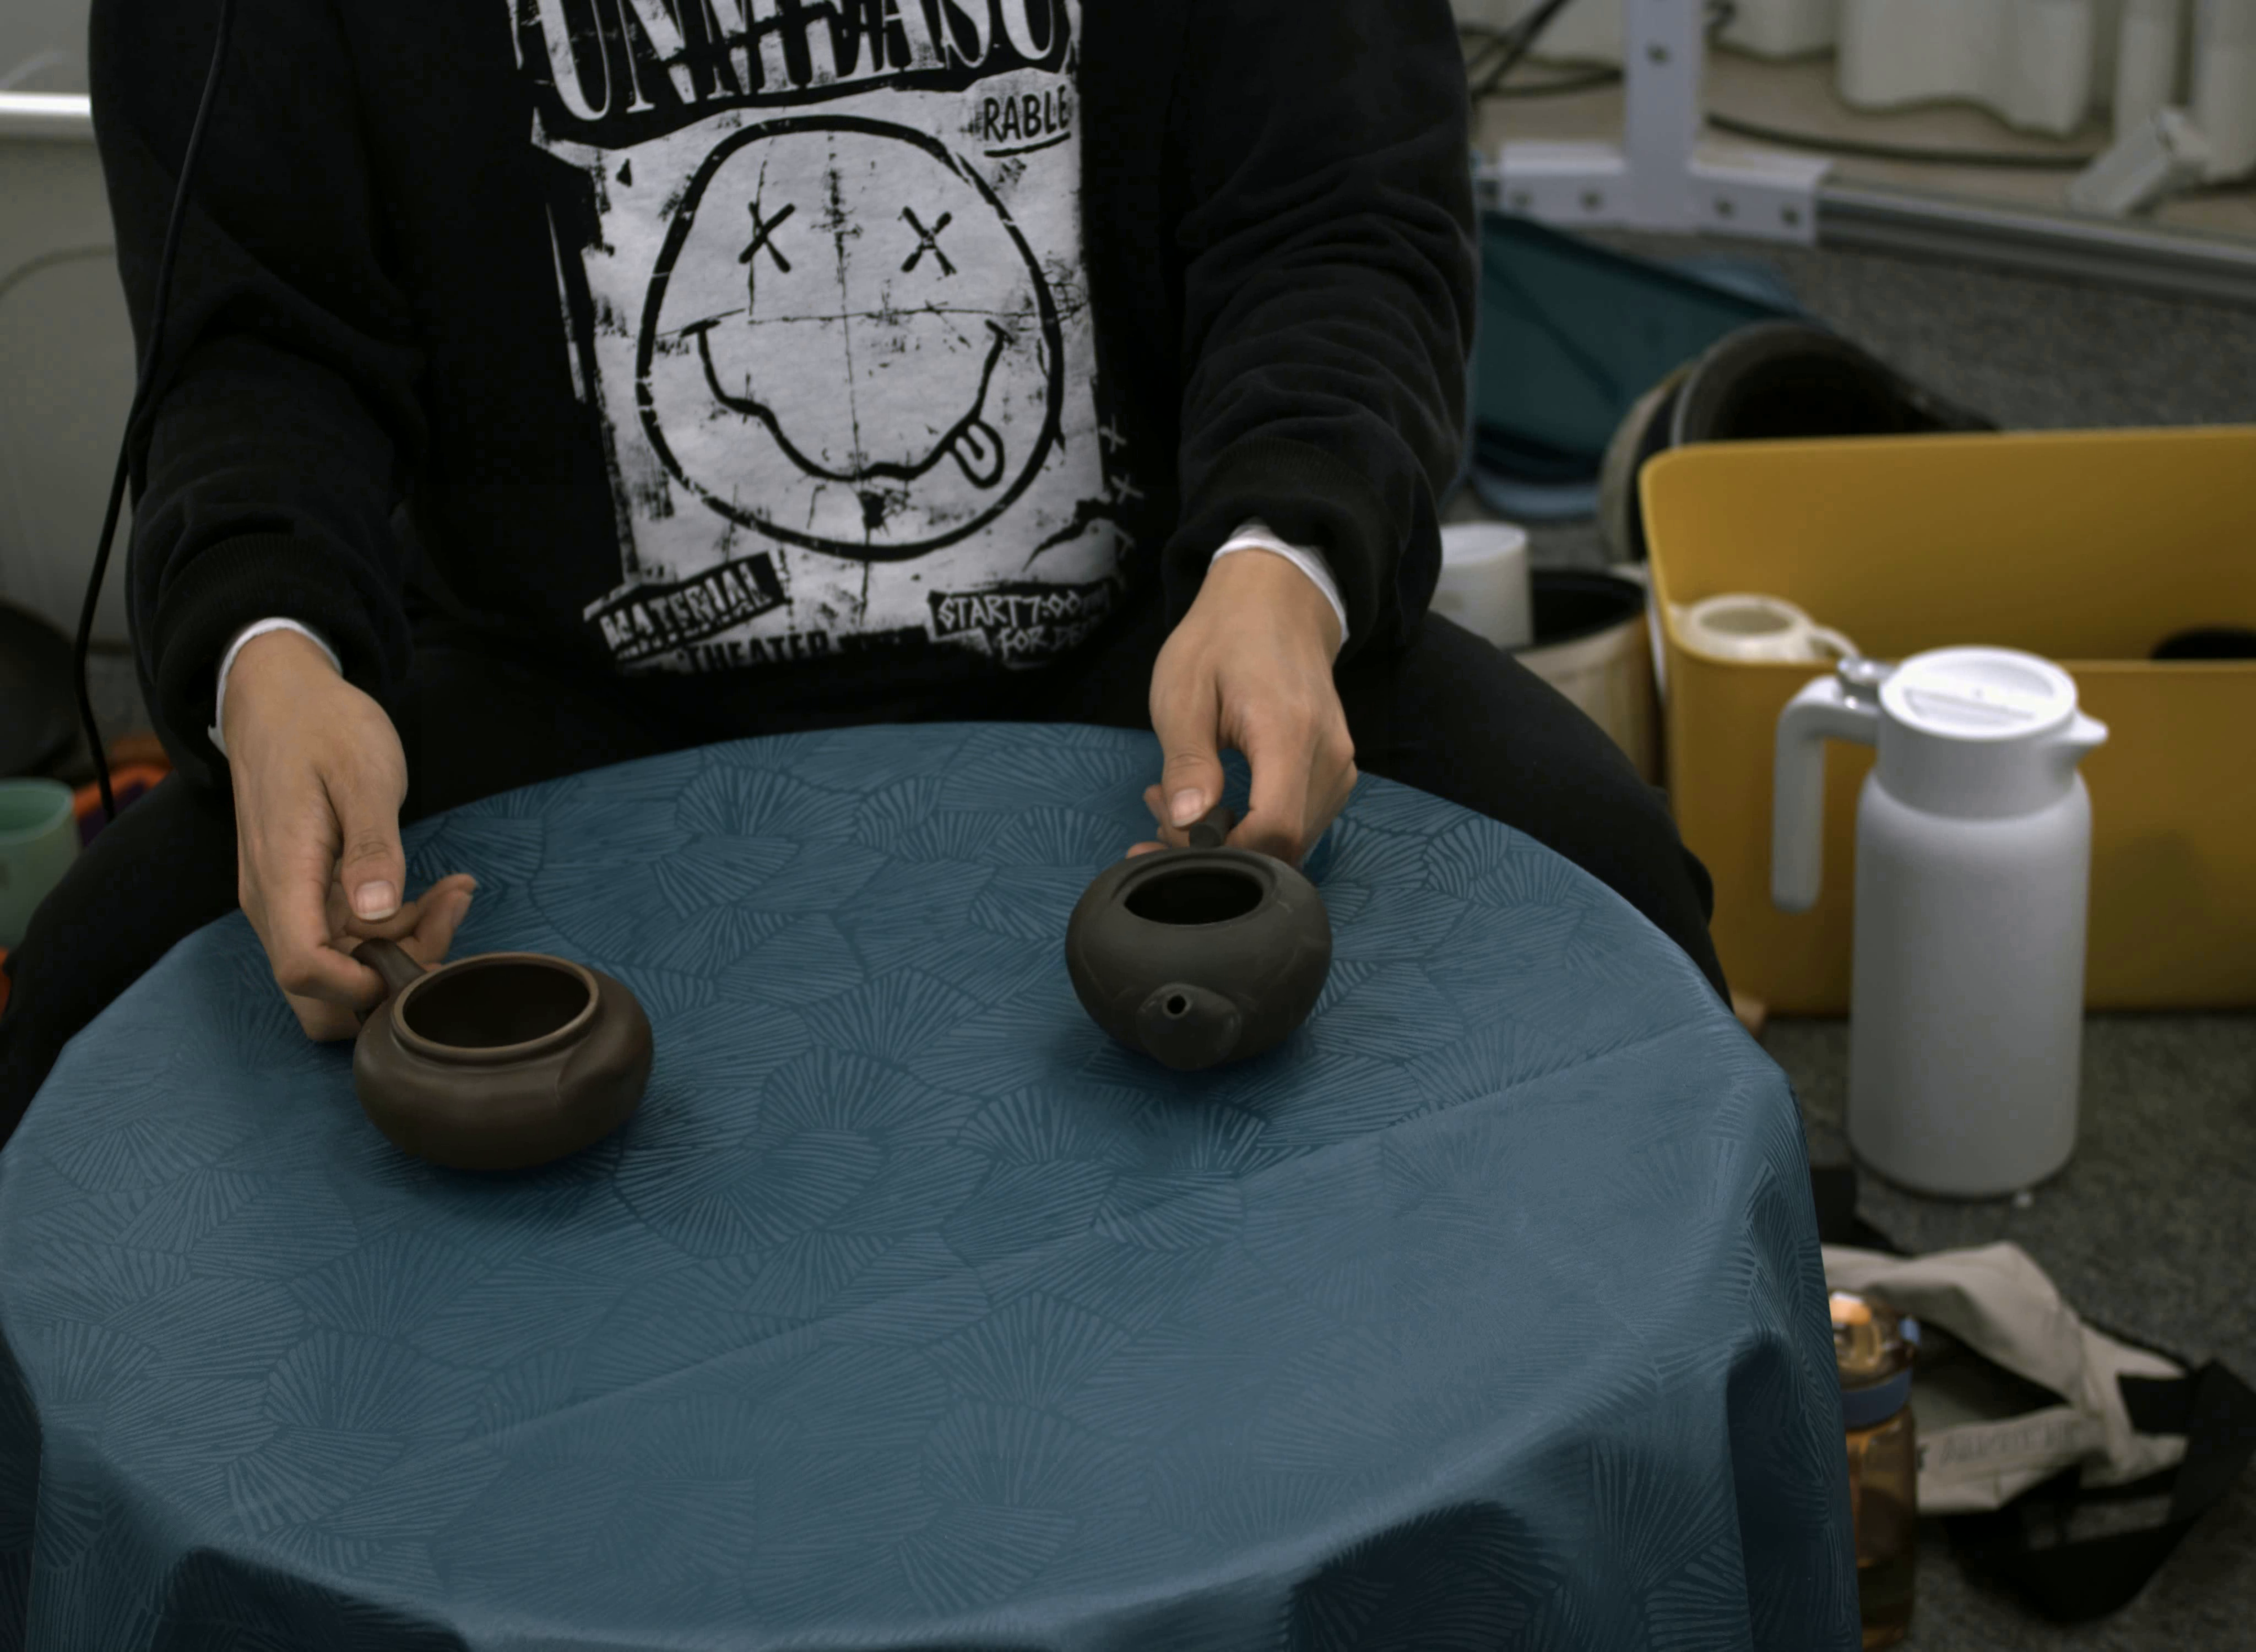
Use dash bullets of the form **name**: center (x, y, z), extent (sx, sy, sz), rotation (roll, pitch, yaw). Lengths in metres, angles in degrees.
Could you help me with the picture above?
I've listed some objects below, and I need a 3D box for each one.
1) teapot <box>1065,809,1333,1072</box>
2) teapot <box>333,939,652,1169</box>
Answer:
- **teapot**: center (0.025, 0.043, 1.940), extent (0.092, 0.063, 0.157), rotation (3, 28, 7)
- **teapot**: center (-0.216, 0.077, 1.907), extent (0.153, 0.053, 0.104), rotation (18, 31, 35)
